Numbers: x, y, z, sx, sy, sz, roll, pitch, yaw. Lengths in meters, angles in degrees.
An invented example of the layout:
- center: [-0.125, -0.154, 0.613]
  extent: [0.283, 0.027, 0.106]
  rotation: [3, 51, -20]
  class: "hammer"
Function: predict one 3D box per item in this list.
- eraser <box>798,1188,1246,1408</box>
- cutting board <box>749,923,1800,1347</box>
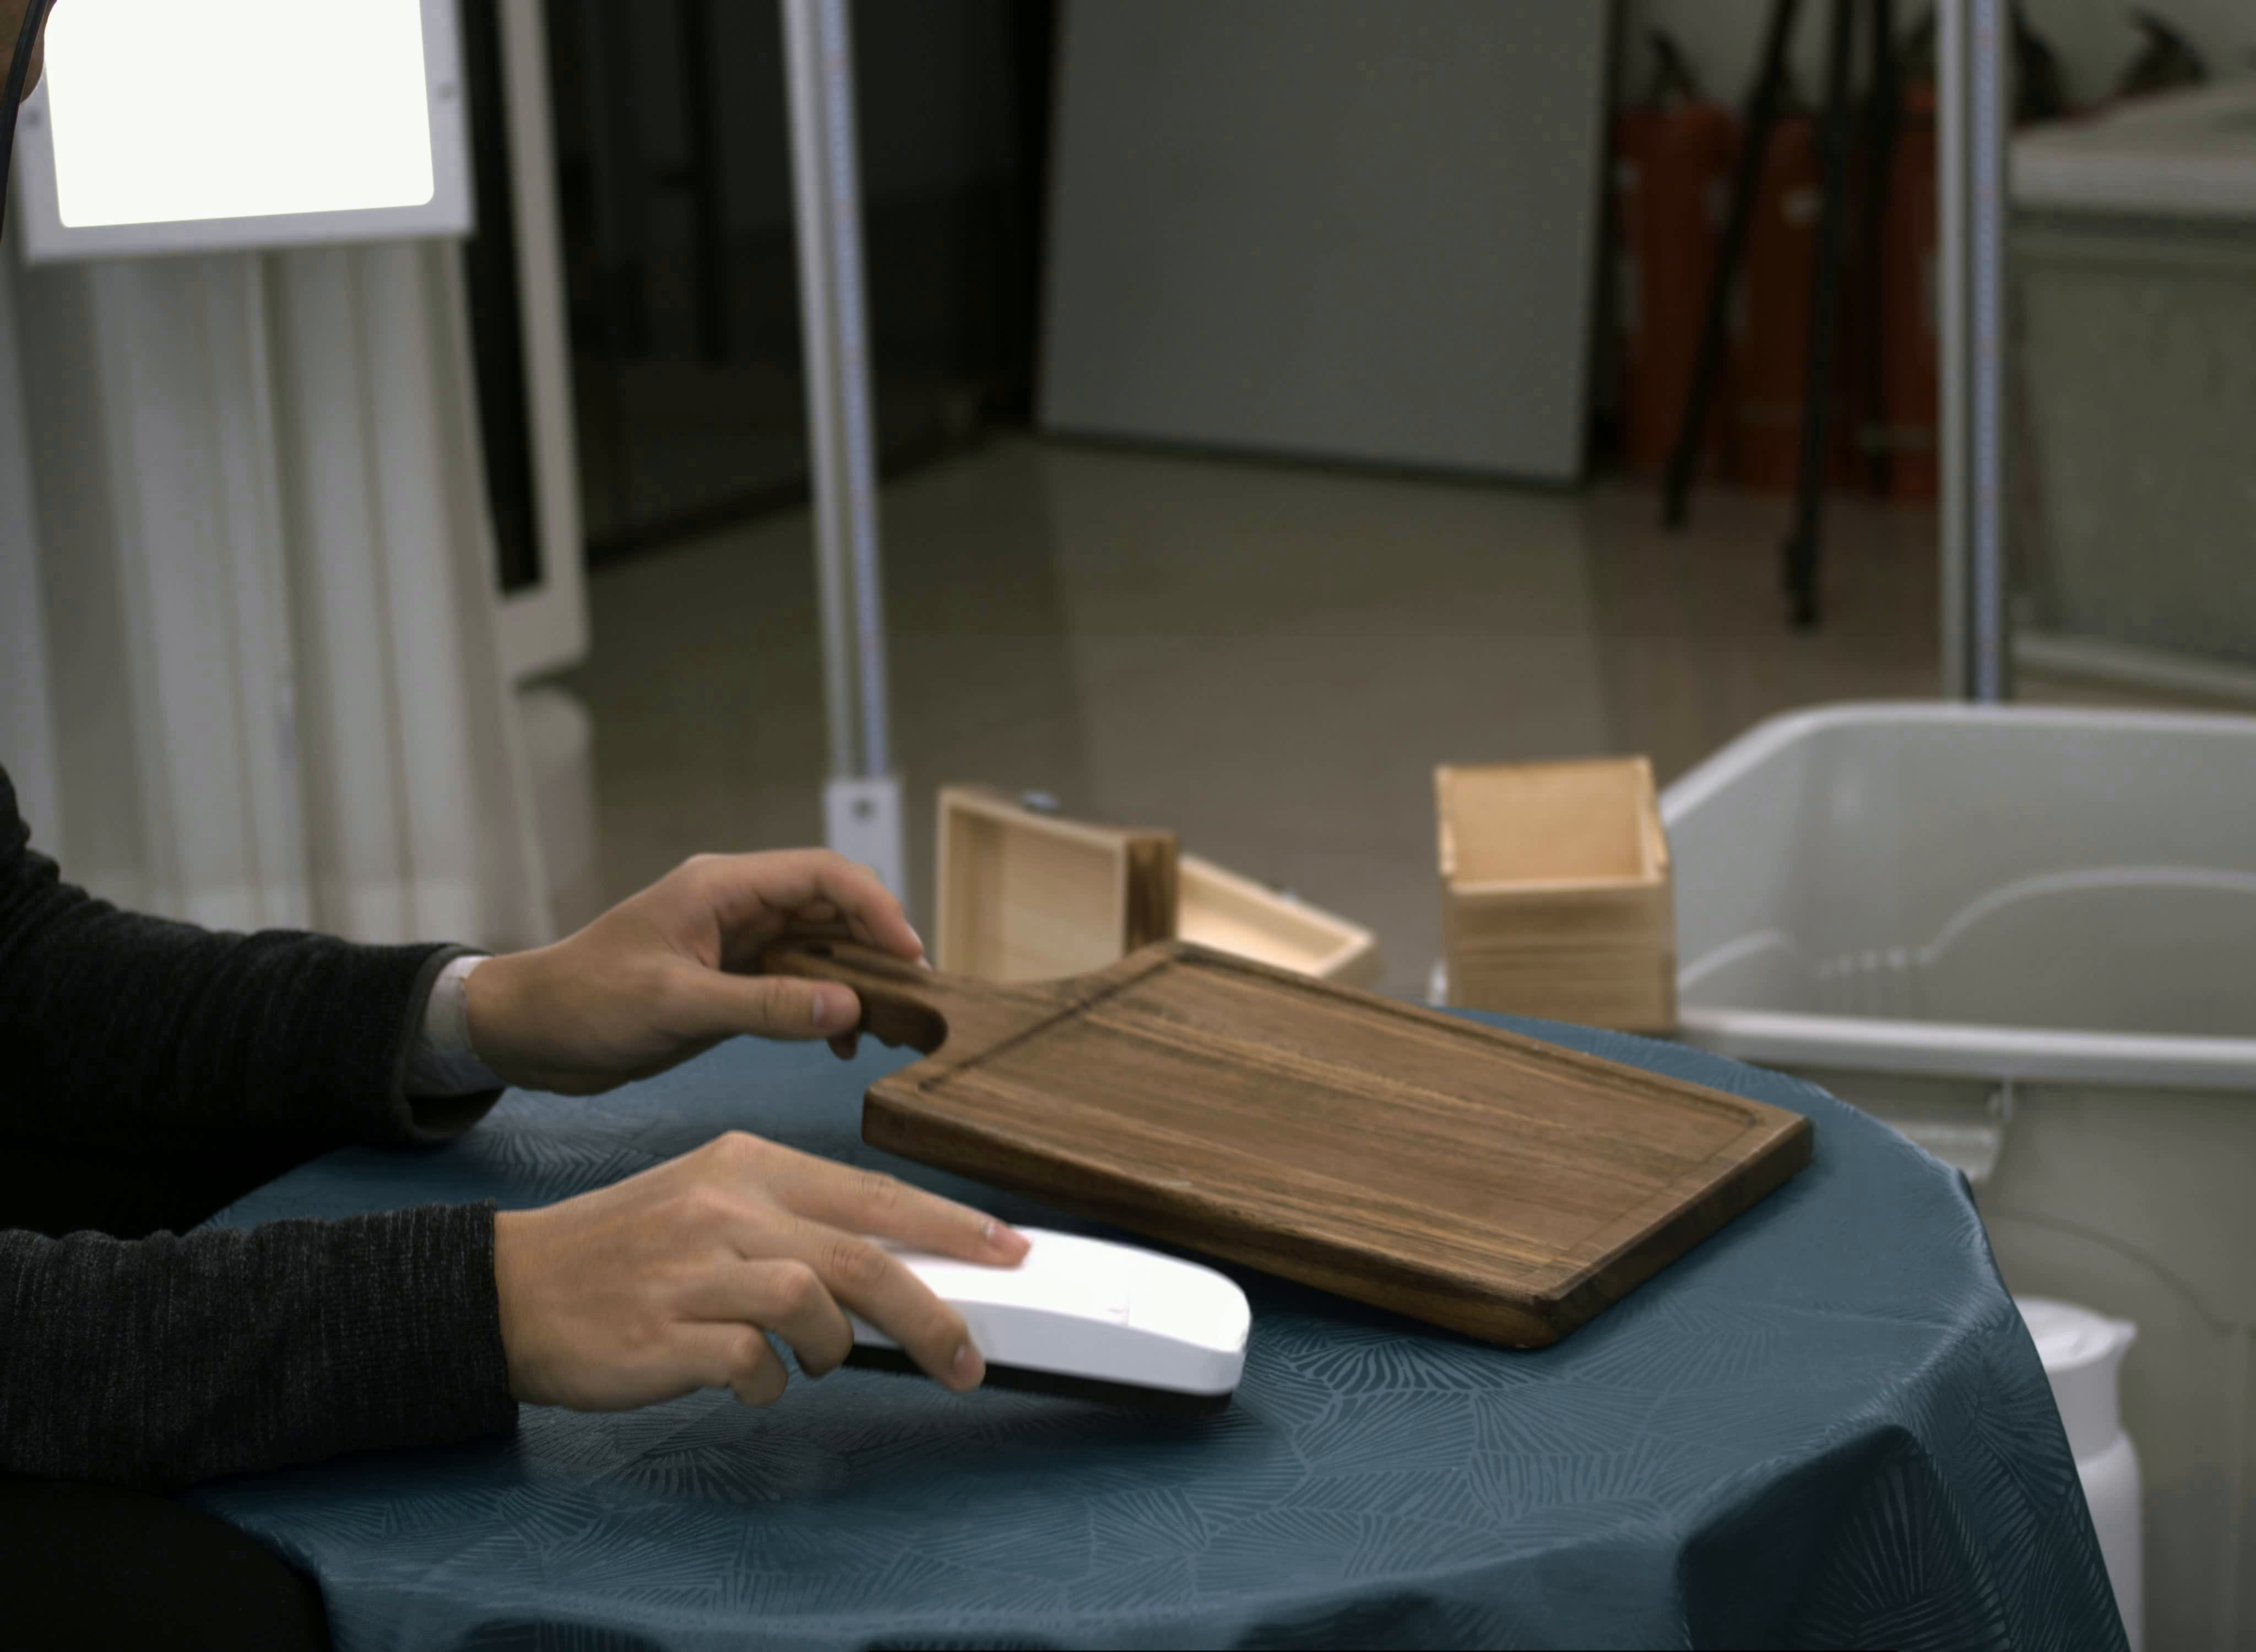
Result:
- center: [-0.031, 0.135, 1.556]
  extent: [0.129, 0.035, 0.063]
  rotation: [9, 17, -2]
  class: "eraser"
- center: [0.025, 0.084, 1.751]
  extent: [0.354, 0.023, 0.198]
  rotation: [15, 22, 29]
  class: "cutting board"
